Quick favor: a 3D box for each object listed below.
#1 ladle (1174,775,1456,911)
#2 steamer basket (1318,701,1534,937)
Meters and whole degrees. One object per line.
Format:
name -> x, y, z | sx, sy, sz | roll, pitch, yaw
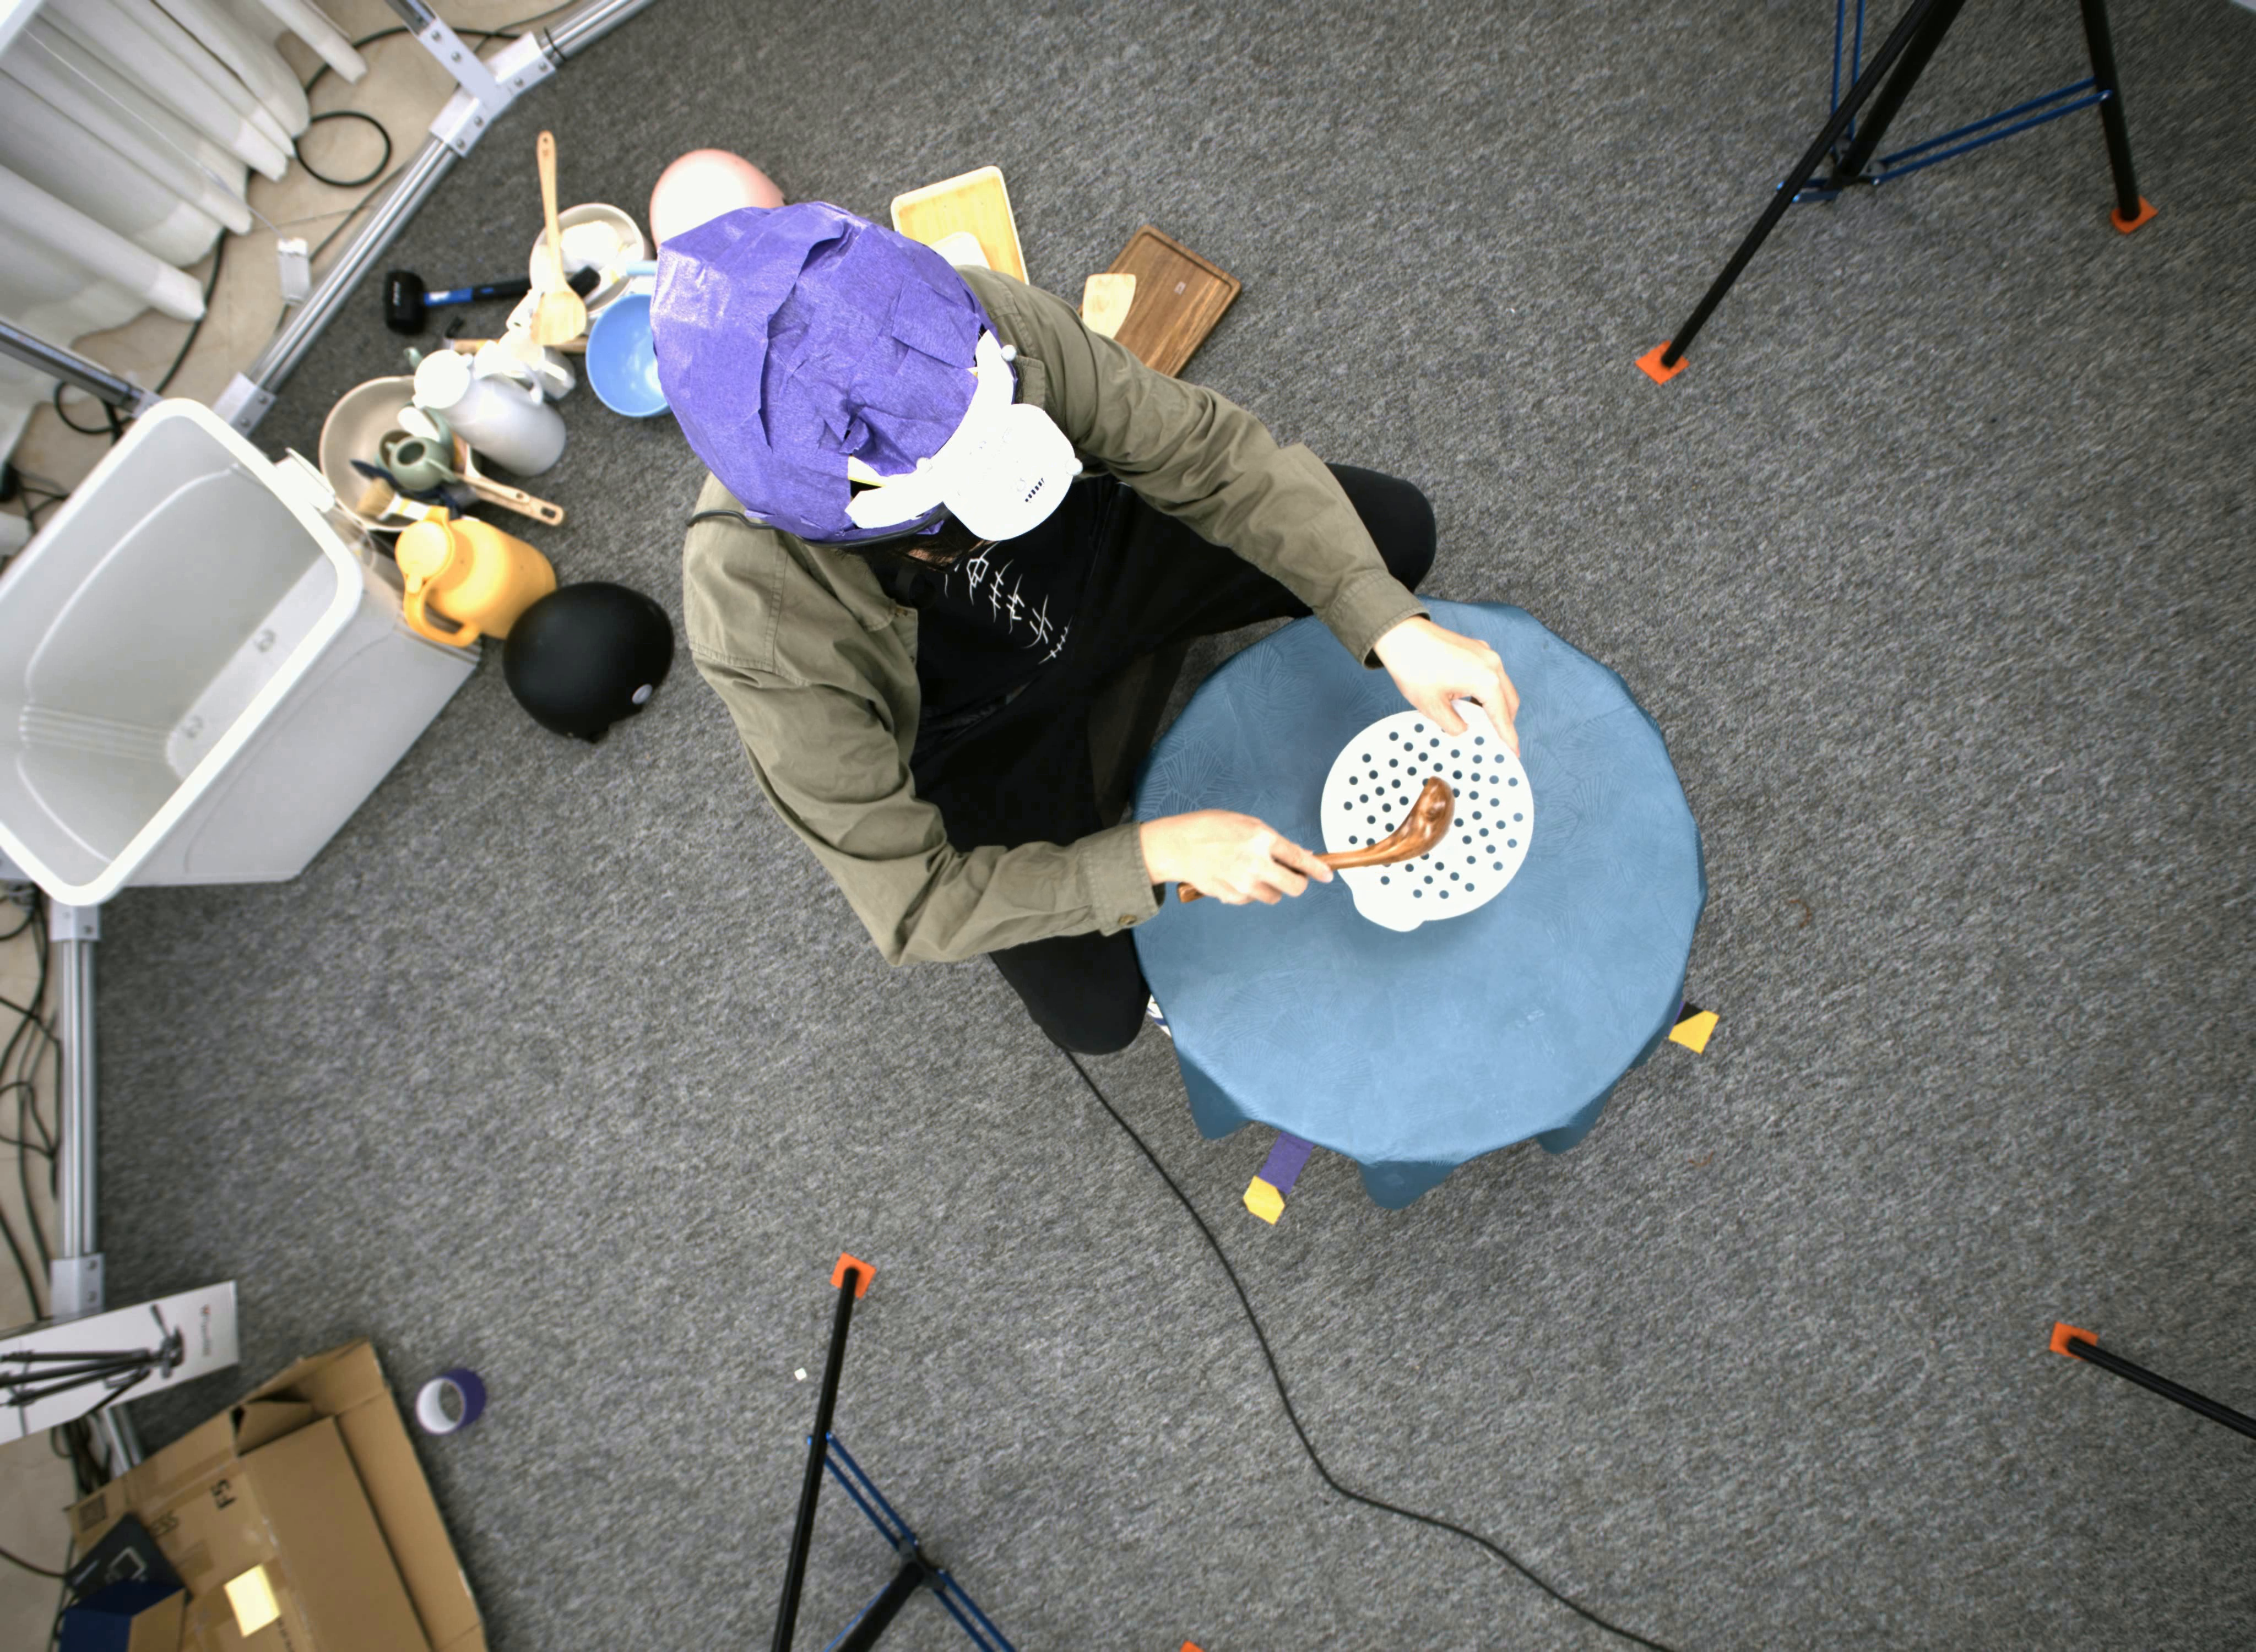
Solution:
ladle -> 0.171, 0.014, 1.276 | 0.275, 0.083, 0.075 | -12, 55, 4
steamer basket -> 0.289, -0.009, 1.329 | 0.202, 0.068, 0.233 | 23, 104, 14
